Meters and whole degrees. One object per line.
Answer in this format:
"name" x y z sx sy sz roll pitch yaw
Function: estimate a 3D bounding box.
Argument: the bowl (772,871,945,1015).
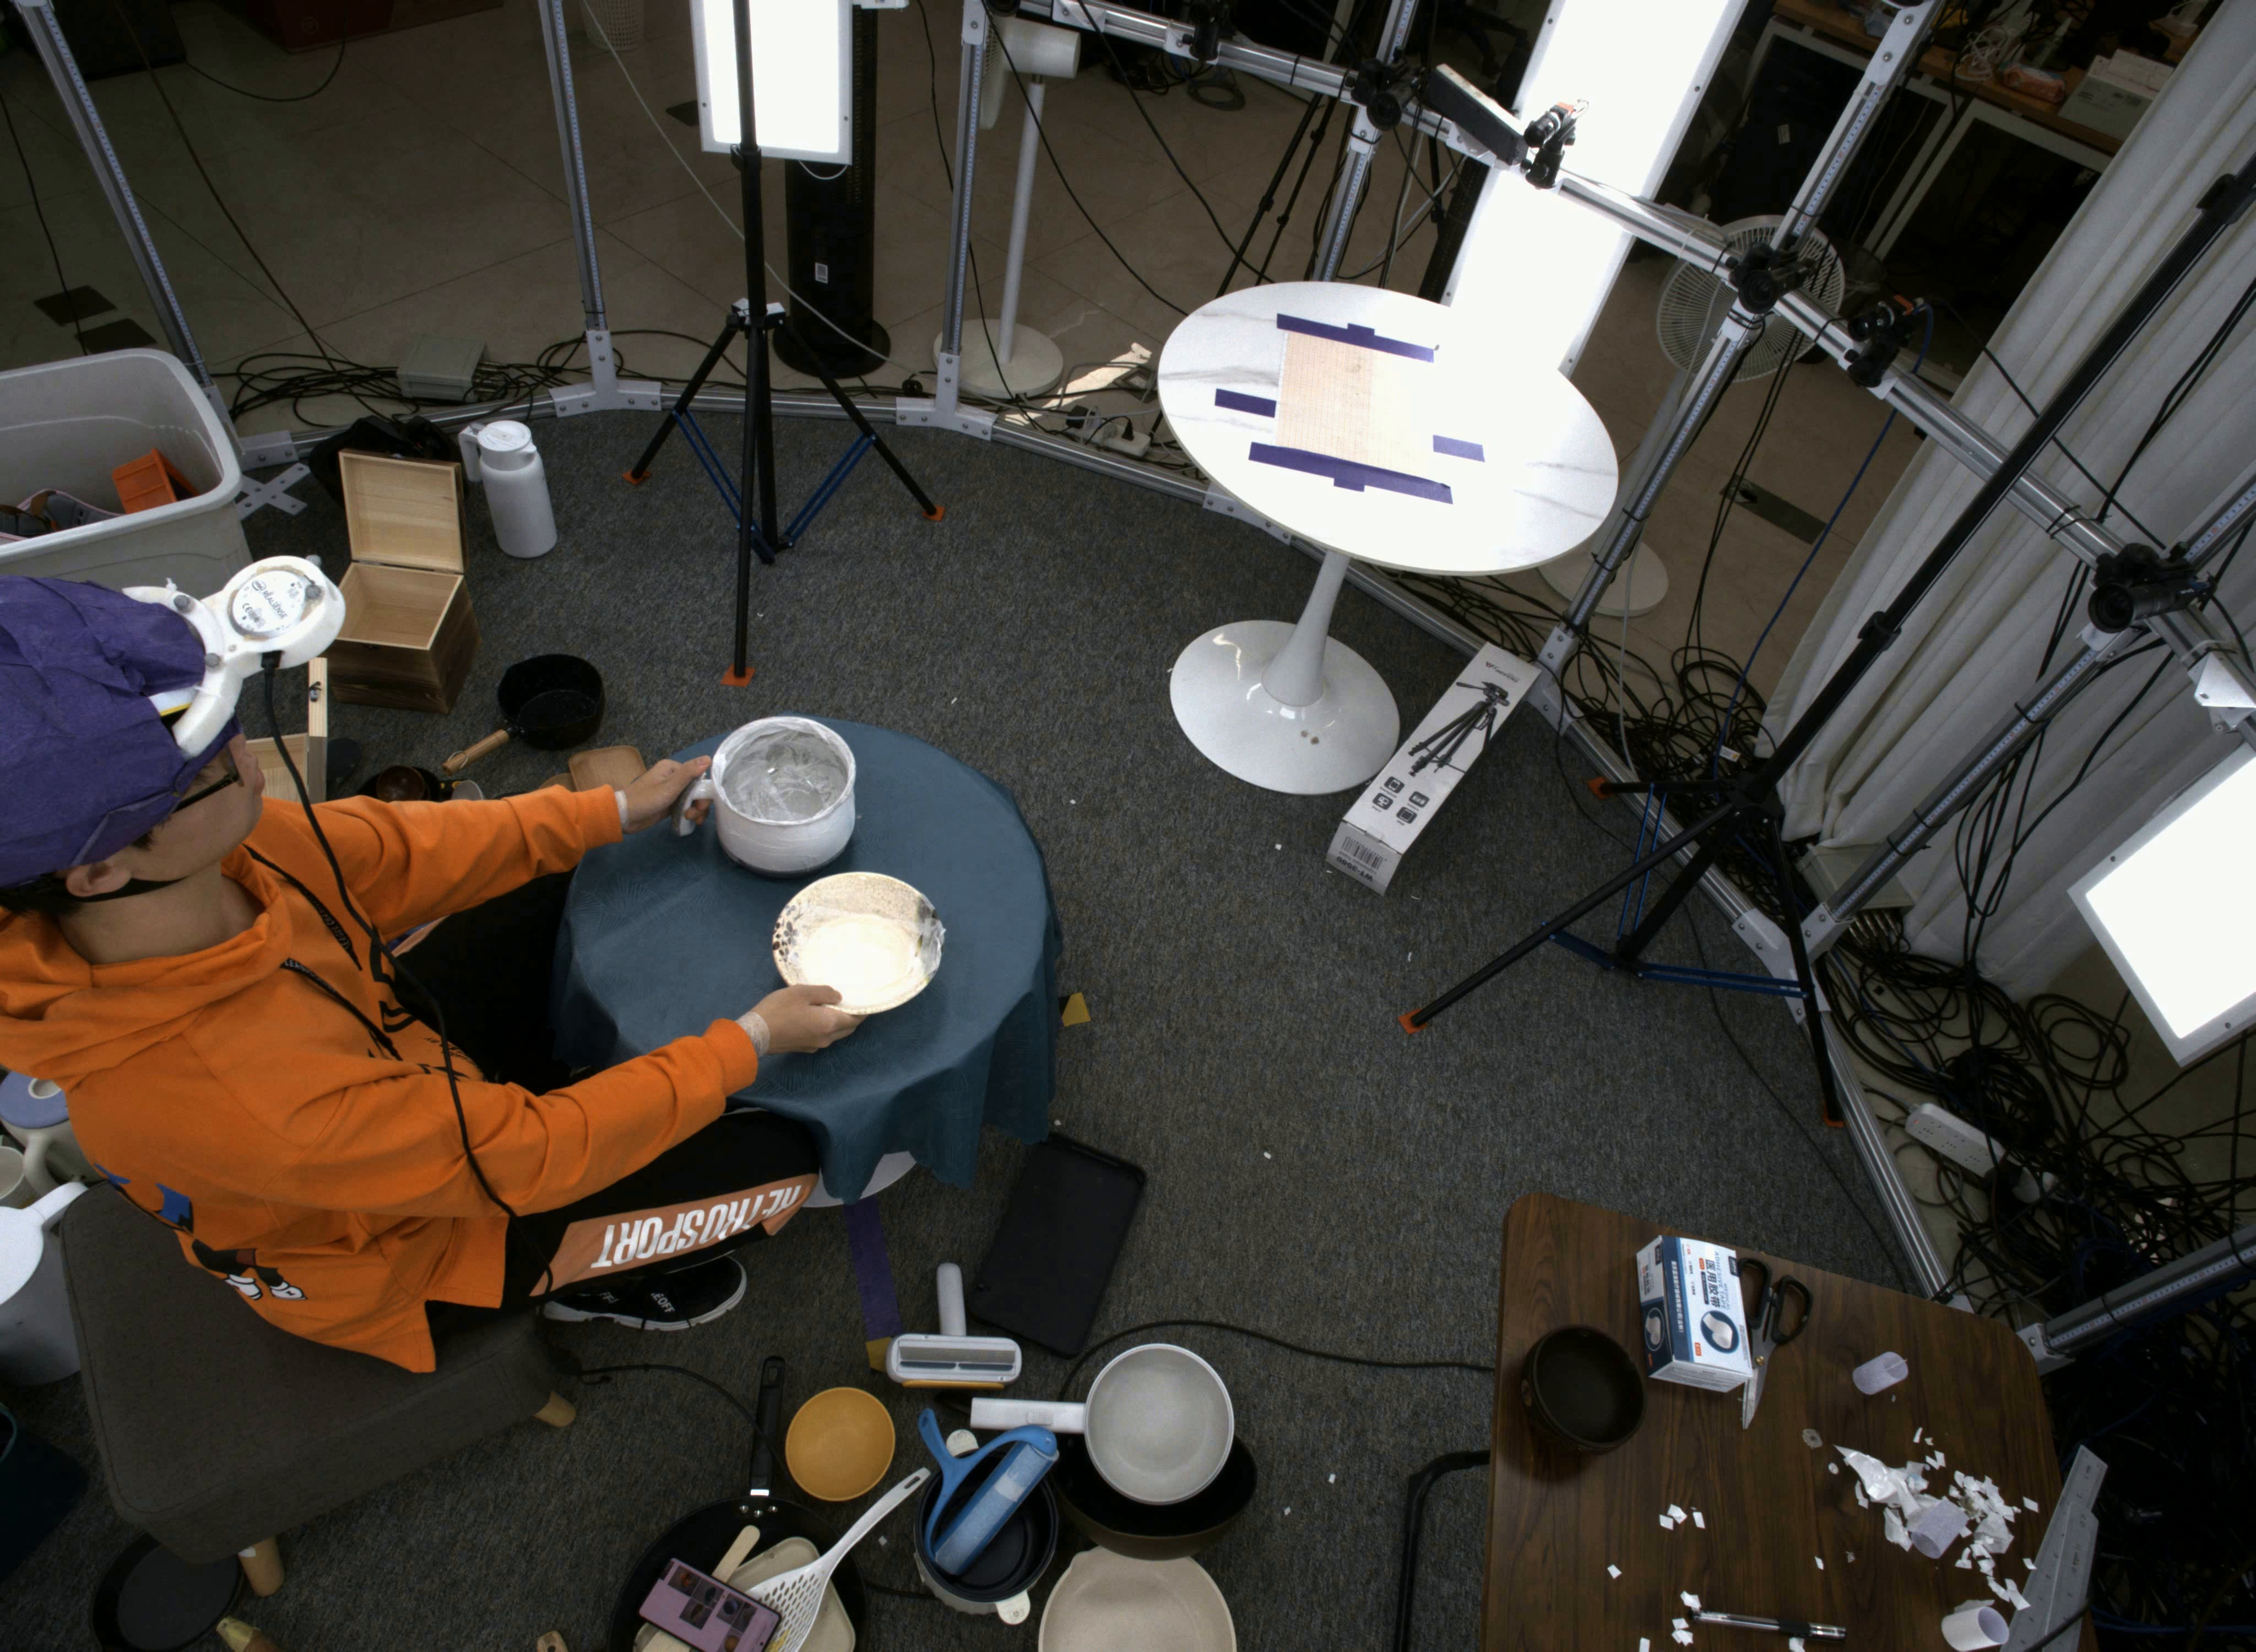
"bowl" -0.324 0.157 1.572 0.203 0.080 0.200 6 52 -6

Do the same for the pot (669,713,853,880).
"pot" -0.465 -0.032 1.638 0.234 0.139 0.174 -4 54 -17
